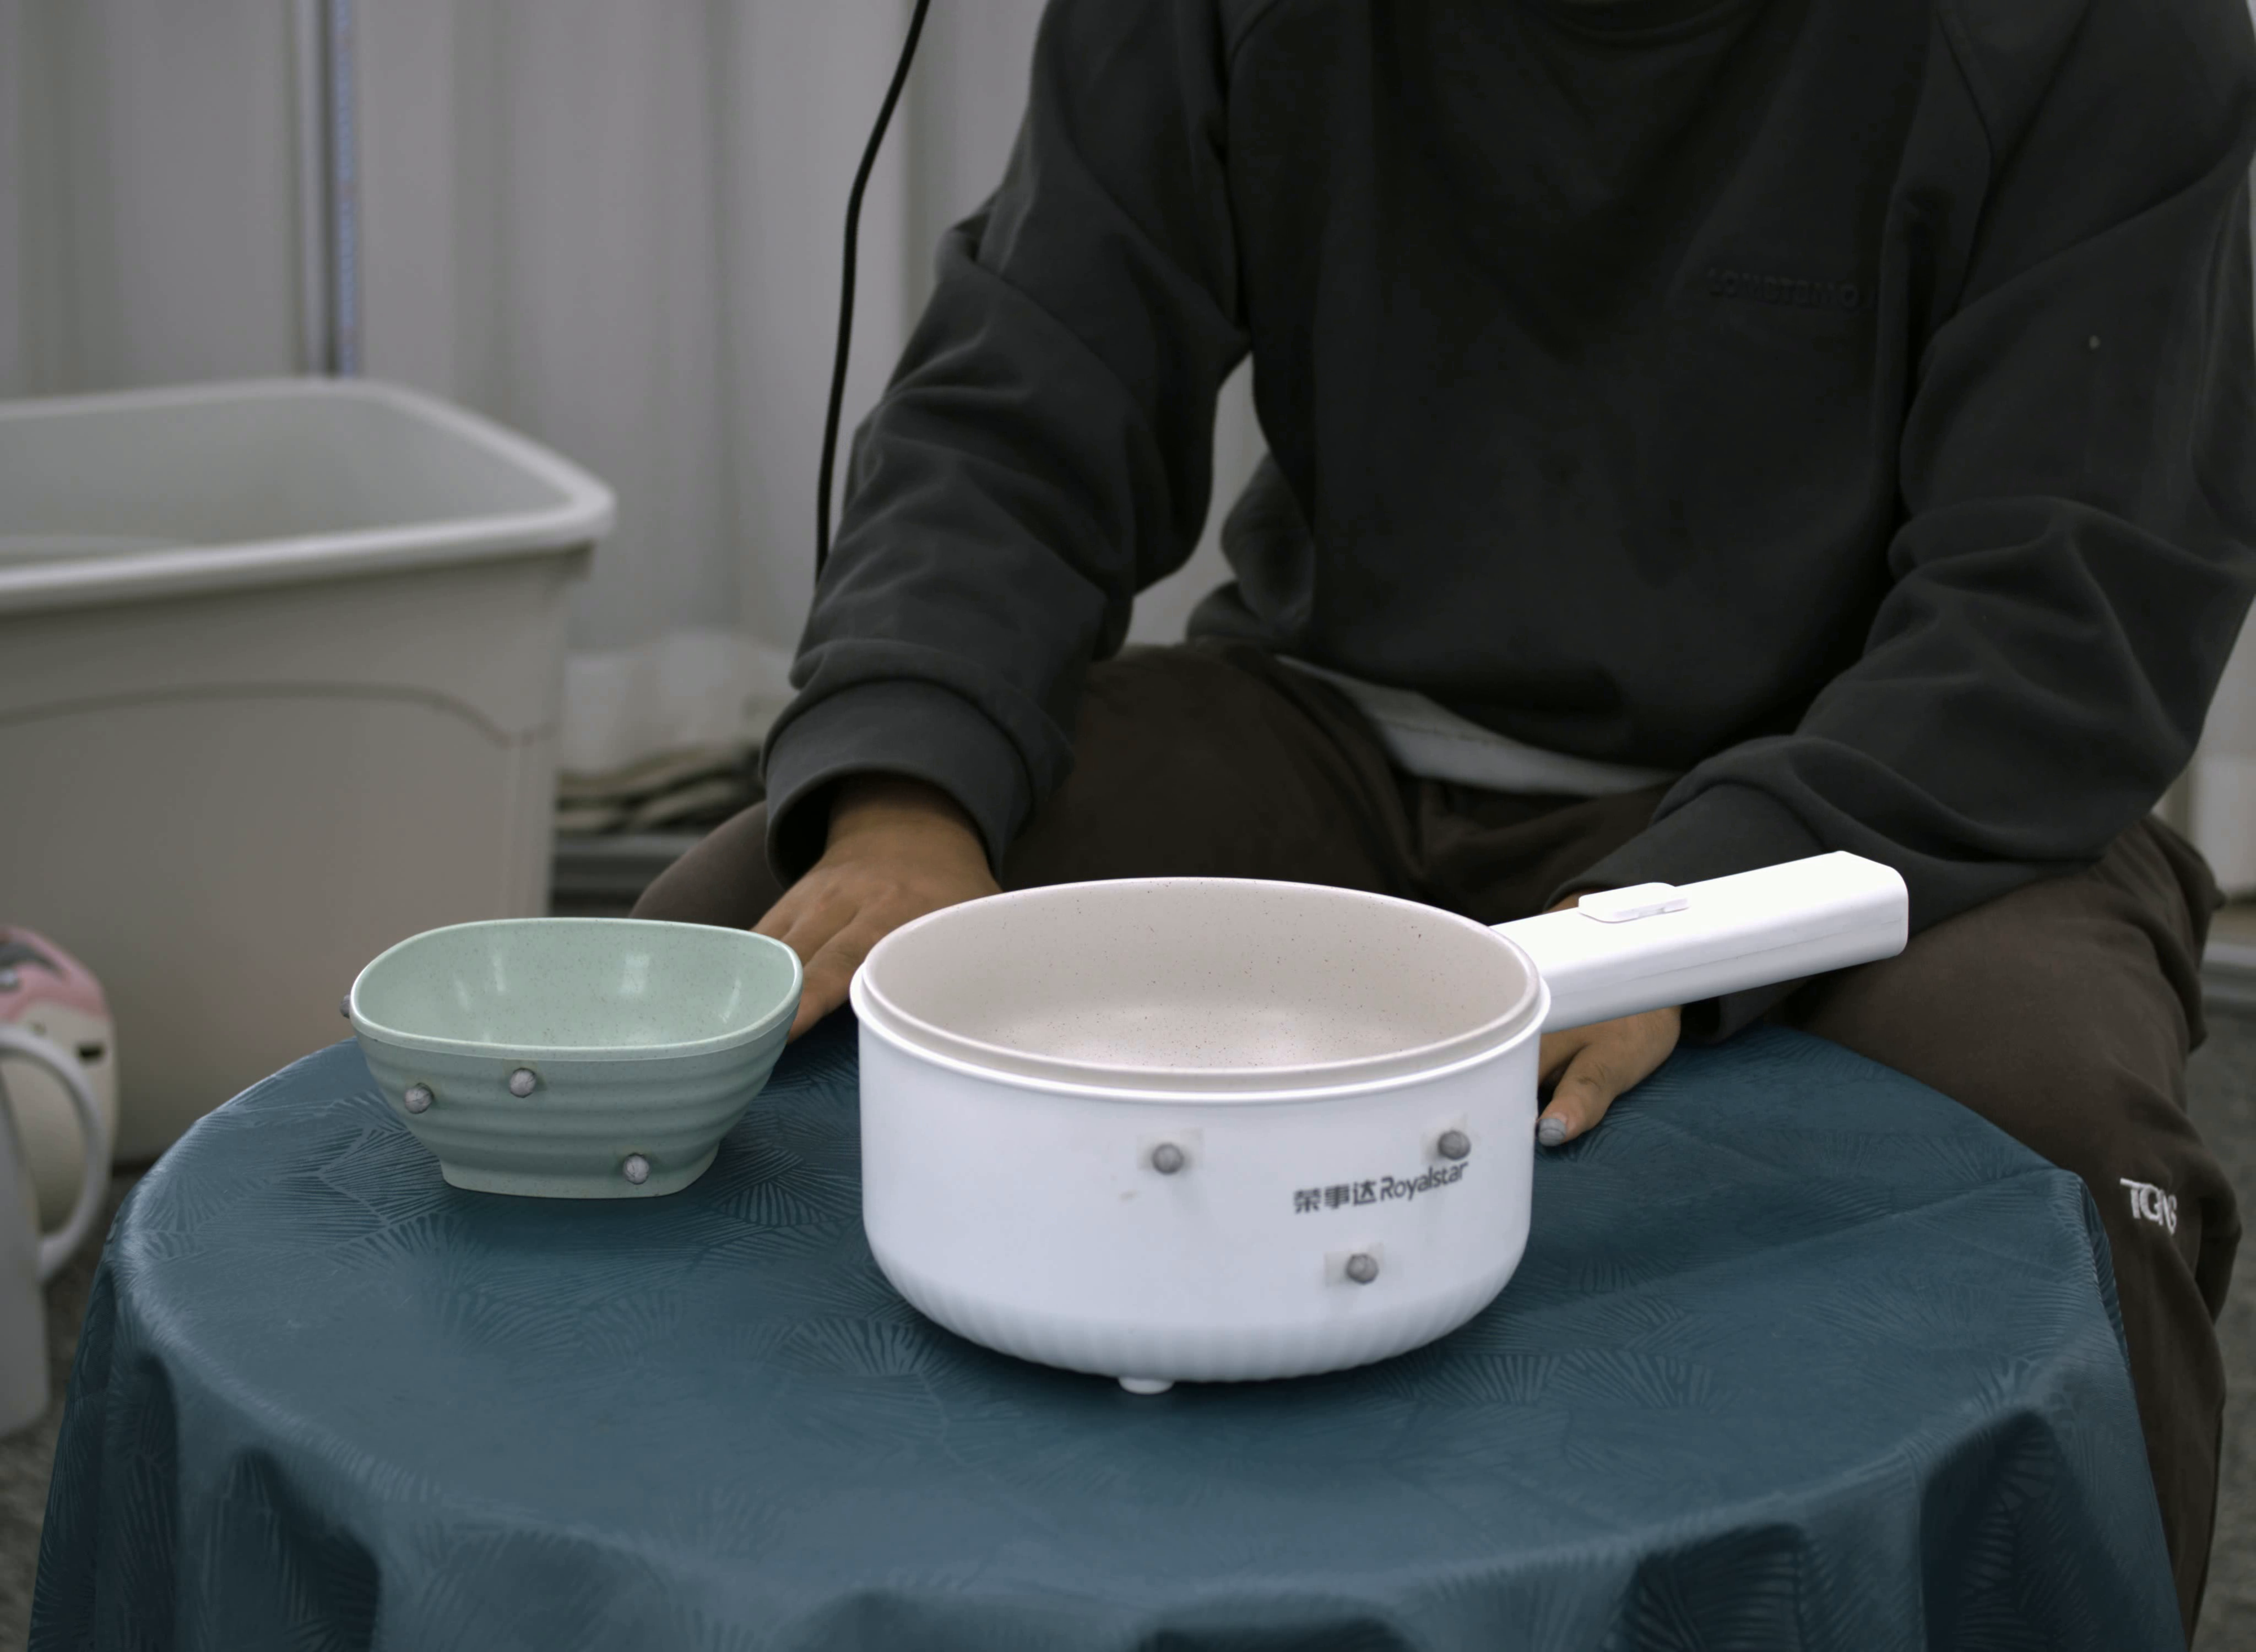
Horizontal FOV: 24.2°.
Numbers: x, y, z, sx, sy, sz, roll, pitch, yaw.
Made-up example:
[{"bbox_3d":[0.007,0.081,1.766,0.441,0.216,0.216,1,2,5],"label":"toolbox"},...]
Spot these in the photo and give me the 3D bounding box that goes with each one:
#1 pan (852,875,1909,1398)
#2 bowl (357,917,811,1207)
[{"bbox_3d":[0.084,0.083,1.565,0.356,0.103,0.198,-8,16,-34],"label":"pan"},{"bbox_3d":[-0.168,0.077,1.644,0.151,0.059,0.150,0,17,0],"label":"bowl"}]
